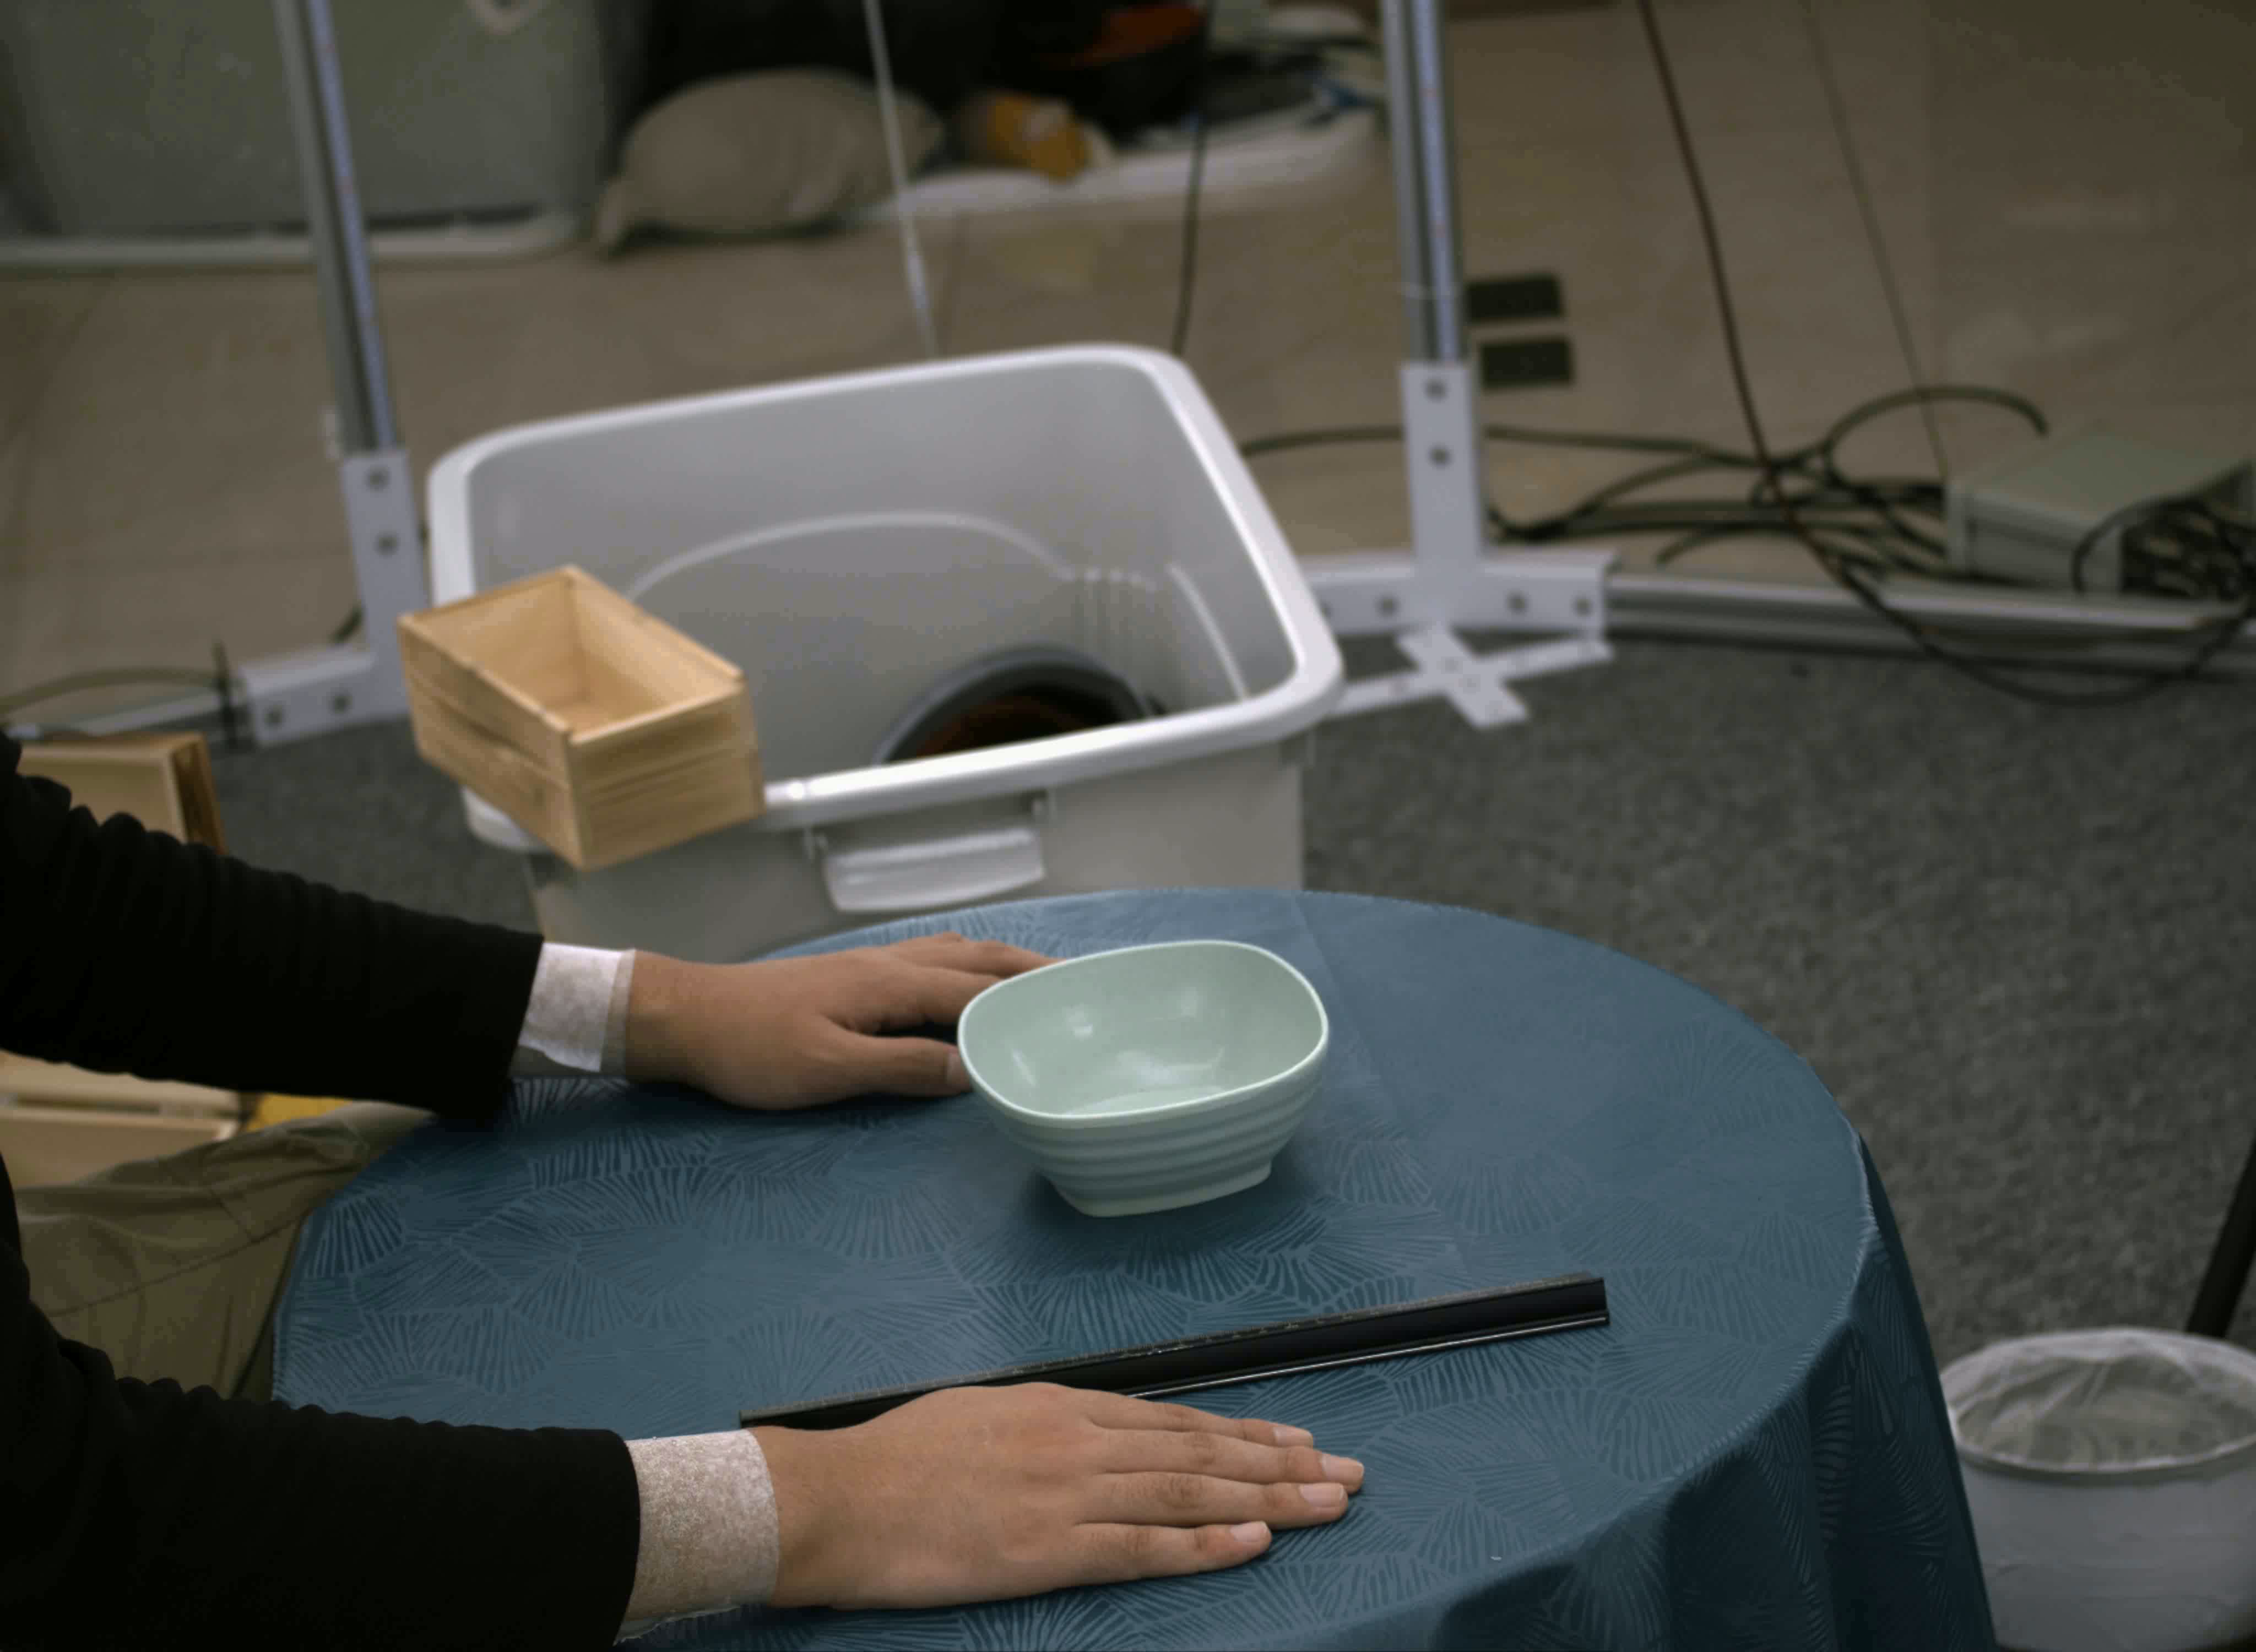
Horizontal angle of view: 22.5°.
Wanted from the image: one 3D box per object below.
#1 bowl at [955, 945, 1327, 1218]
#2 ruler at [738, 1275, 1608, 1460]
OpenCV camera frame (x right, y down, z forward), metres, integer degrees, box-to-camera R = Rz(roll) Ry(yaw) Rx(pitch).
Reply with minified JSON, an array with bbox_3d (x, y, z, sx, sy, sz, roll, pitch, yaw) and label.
[{"bbox_3d":[0.006,0.103,2.158,0.151,0.059,0.149,-3,26,2],"label":"bowl"},{"bbox_3d":[0.015,0.187,2.024,0.312,0.017,0.039,-9,21,-4],"label":"ruler"}]
